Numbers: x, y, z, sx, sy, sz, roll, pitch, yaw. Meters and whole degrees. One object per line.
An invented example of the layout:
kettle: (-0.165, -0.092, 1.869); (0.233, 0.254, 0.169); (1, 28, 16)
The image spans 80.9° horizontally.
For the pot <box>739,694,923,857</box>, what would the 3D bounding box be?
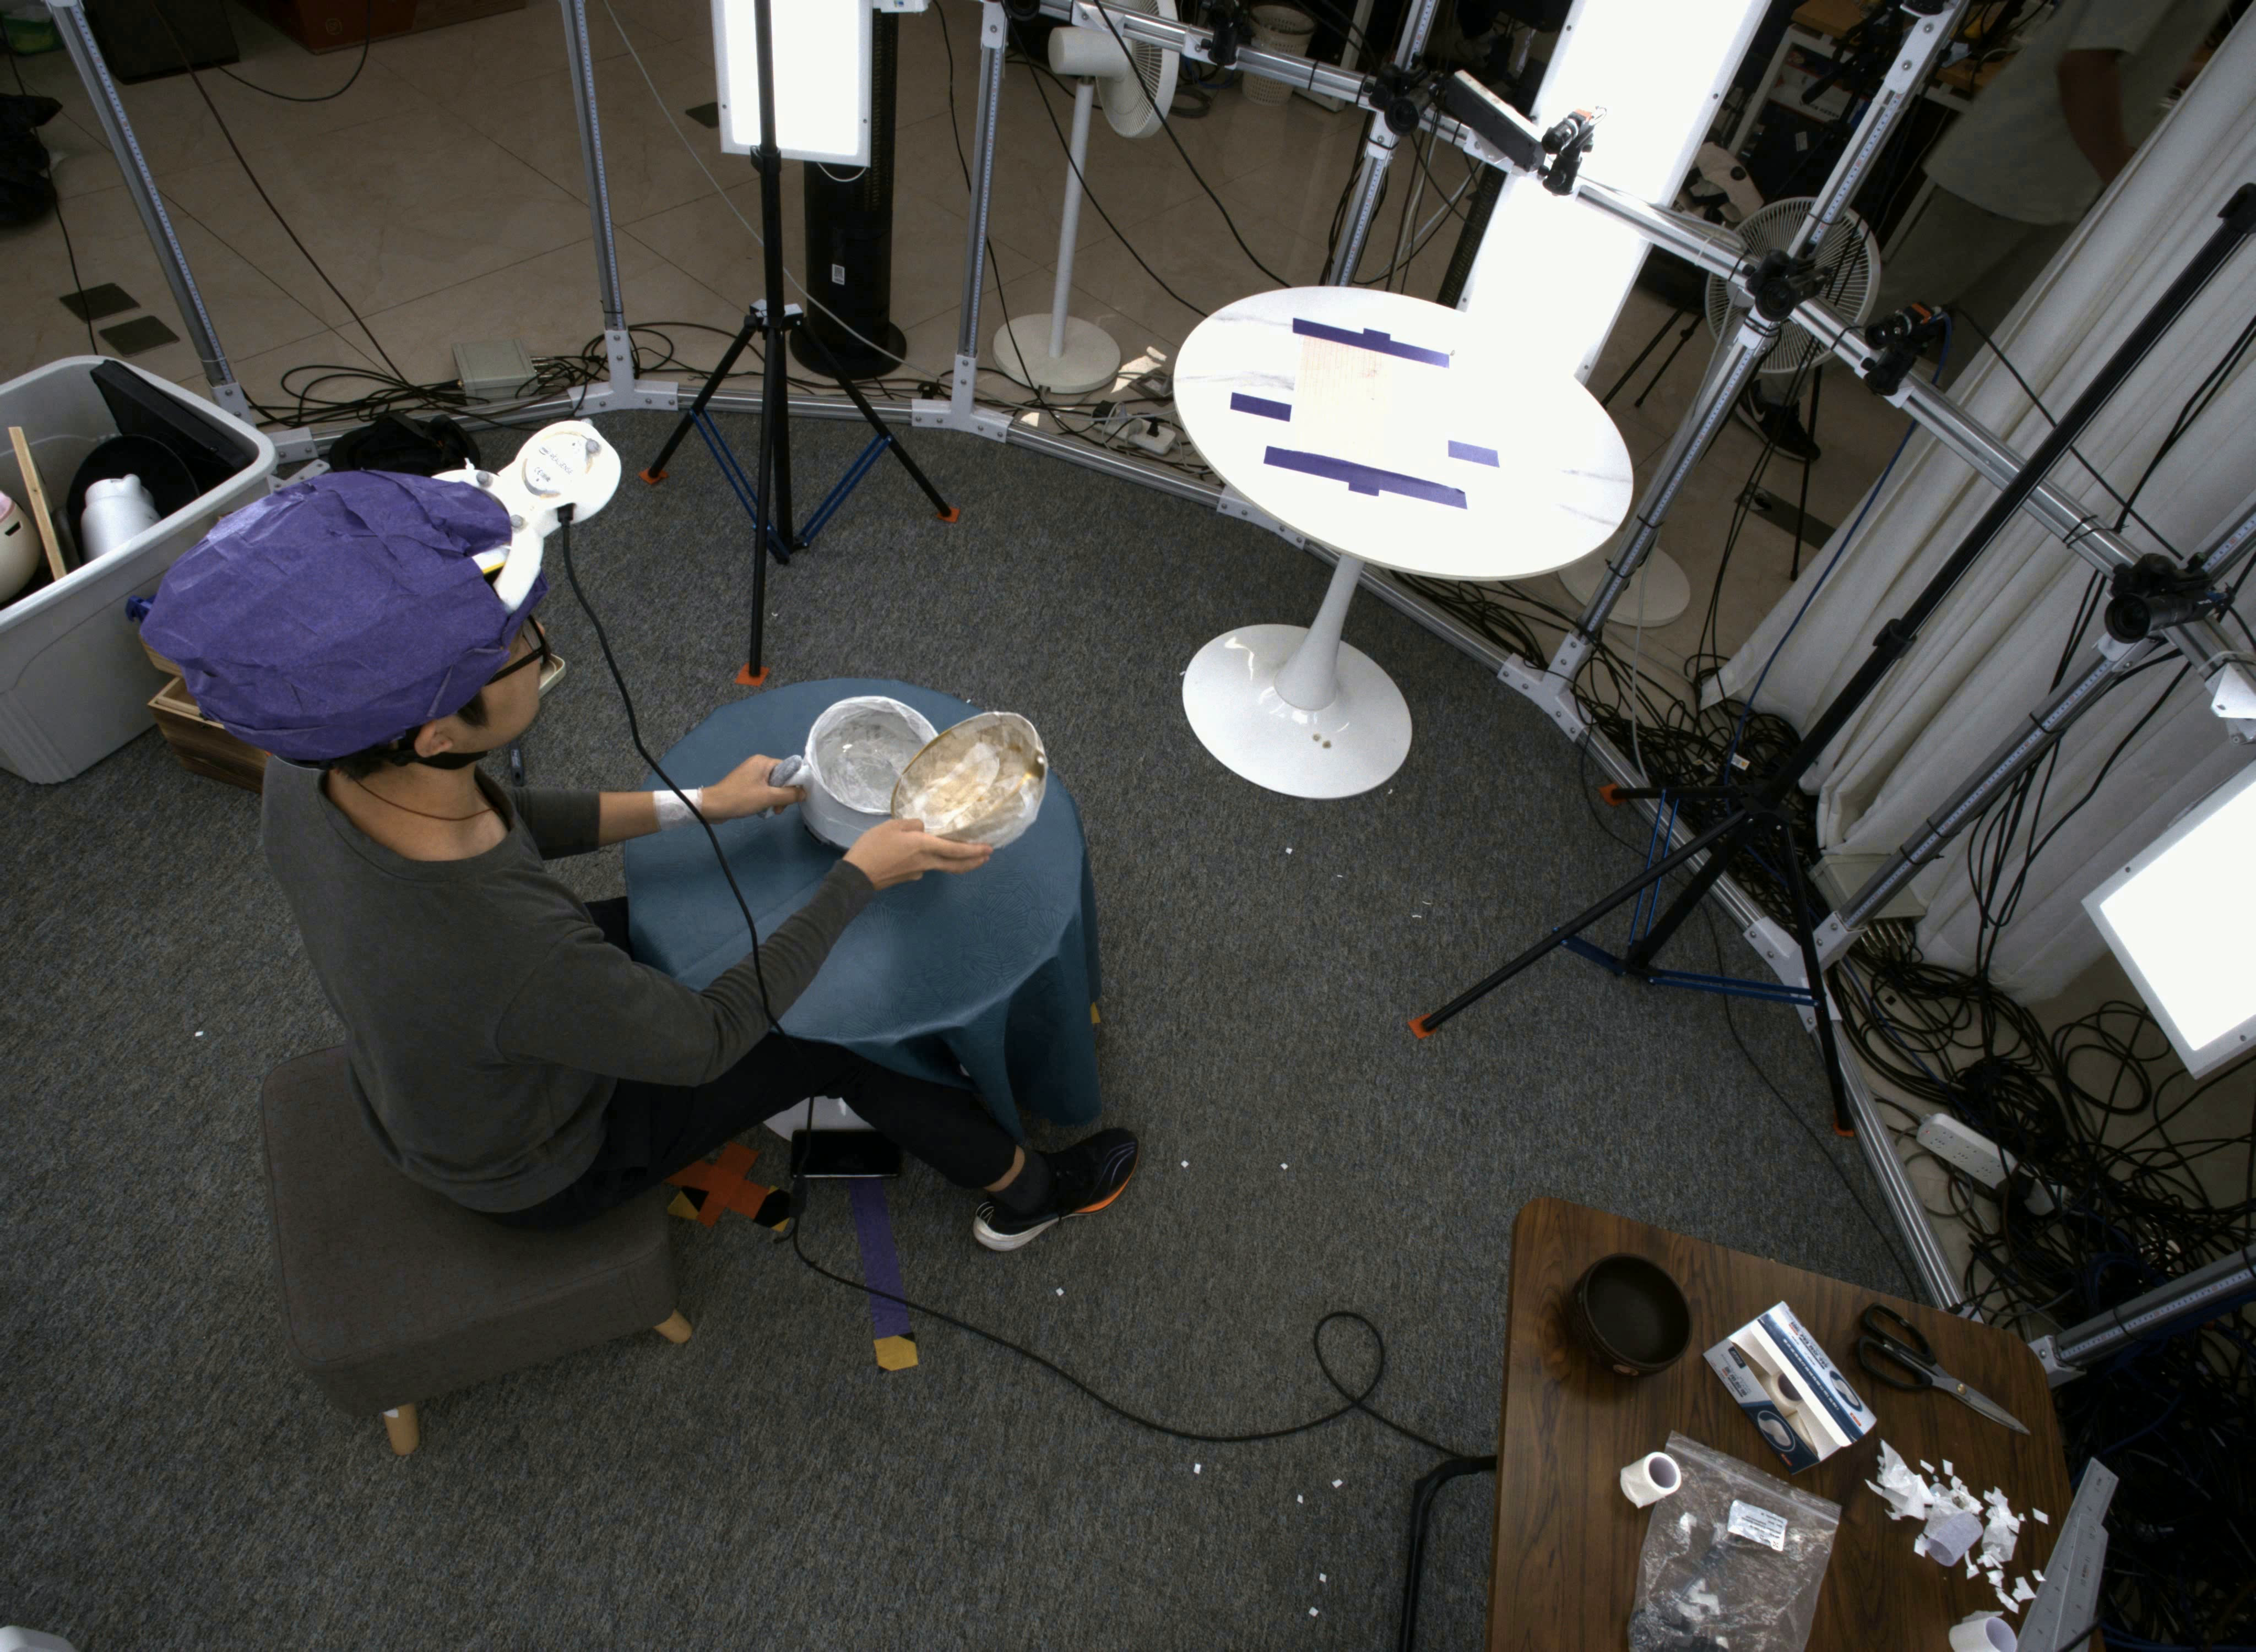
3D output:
pot: (-0.382, -0.057, 1.680); (0.236, 0.137, 0.176); (-10, 66, -27)

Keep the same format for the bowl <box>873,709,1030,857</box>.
bowl: (-0.204, -0.035, 1.584); (0.210, 0.098, 0.210); (-14, 47, 17)
